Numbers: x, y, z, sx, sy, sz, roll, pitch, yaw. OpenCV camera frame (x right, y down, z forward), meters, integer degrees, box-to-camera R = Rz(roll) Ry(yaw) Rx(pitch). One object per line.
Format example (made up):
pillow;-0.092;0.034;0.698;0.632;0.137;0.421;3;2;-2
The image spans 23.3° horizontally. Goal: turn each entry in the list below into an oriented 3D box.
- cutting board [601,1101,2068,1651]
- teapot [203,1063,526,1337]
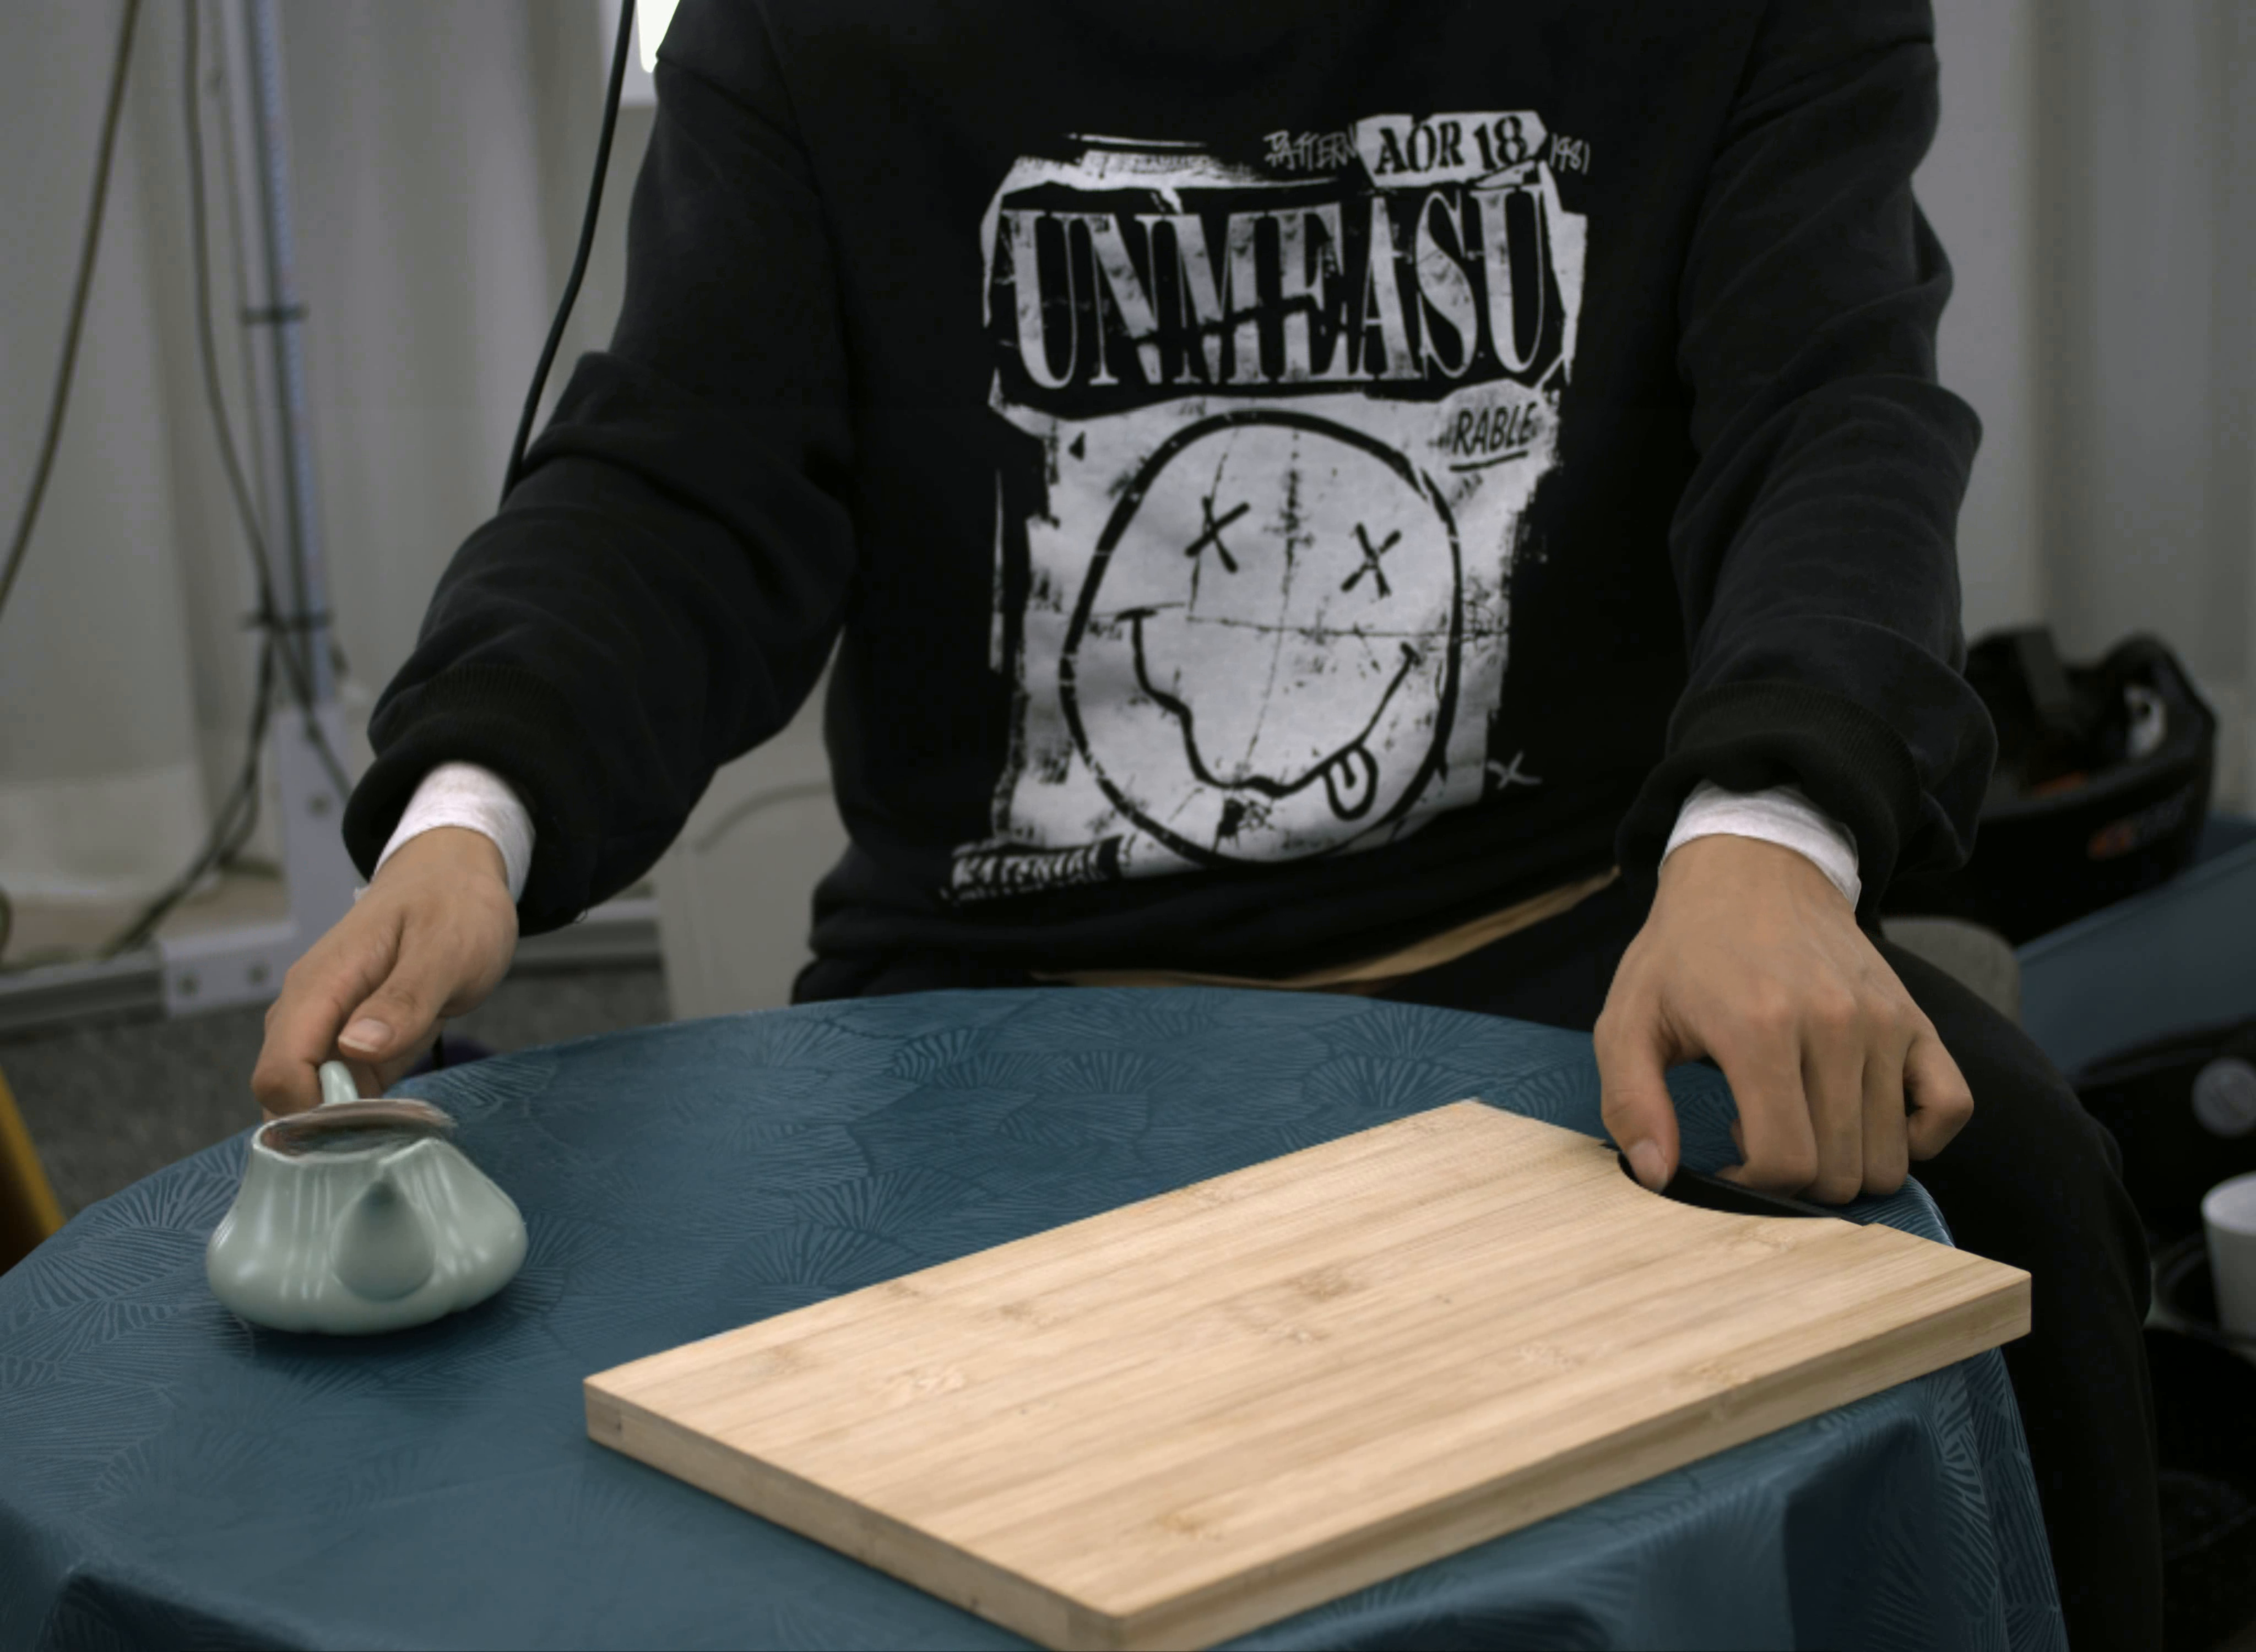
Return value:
cutting board;0.057;0.150;1.542;0.348;0.023;0.252;-15;19;-38
teapot;-0.231;0.115;1.642;0.096;0.061;0.138;-8;16;-16
